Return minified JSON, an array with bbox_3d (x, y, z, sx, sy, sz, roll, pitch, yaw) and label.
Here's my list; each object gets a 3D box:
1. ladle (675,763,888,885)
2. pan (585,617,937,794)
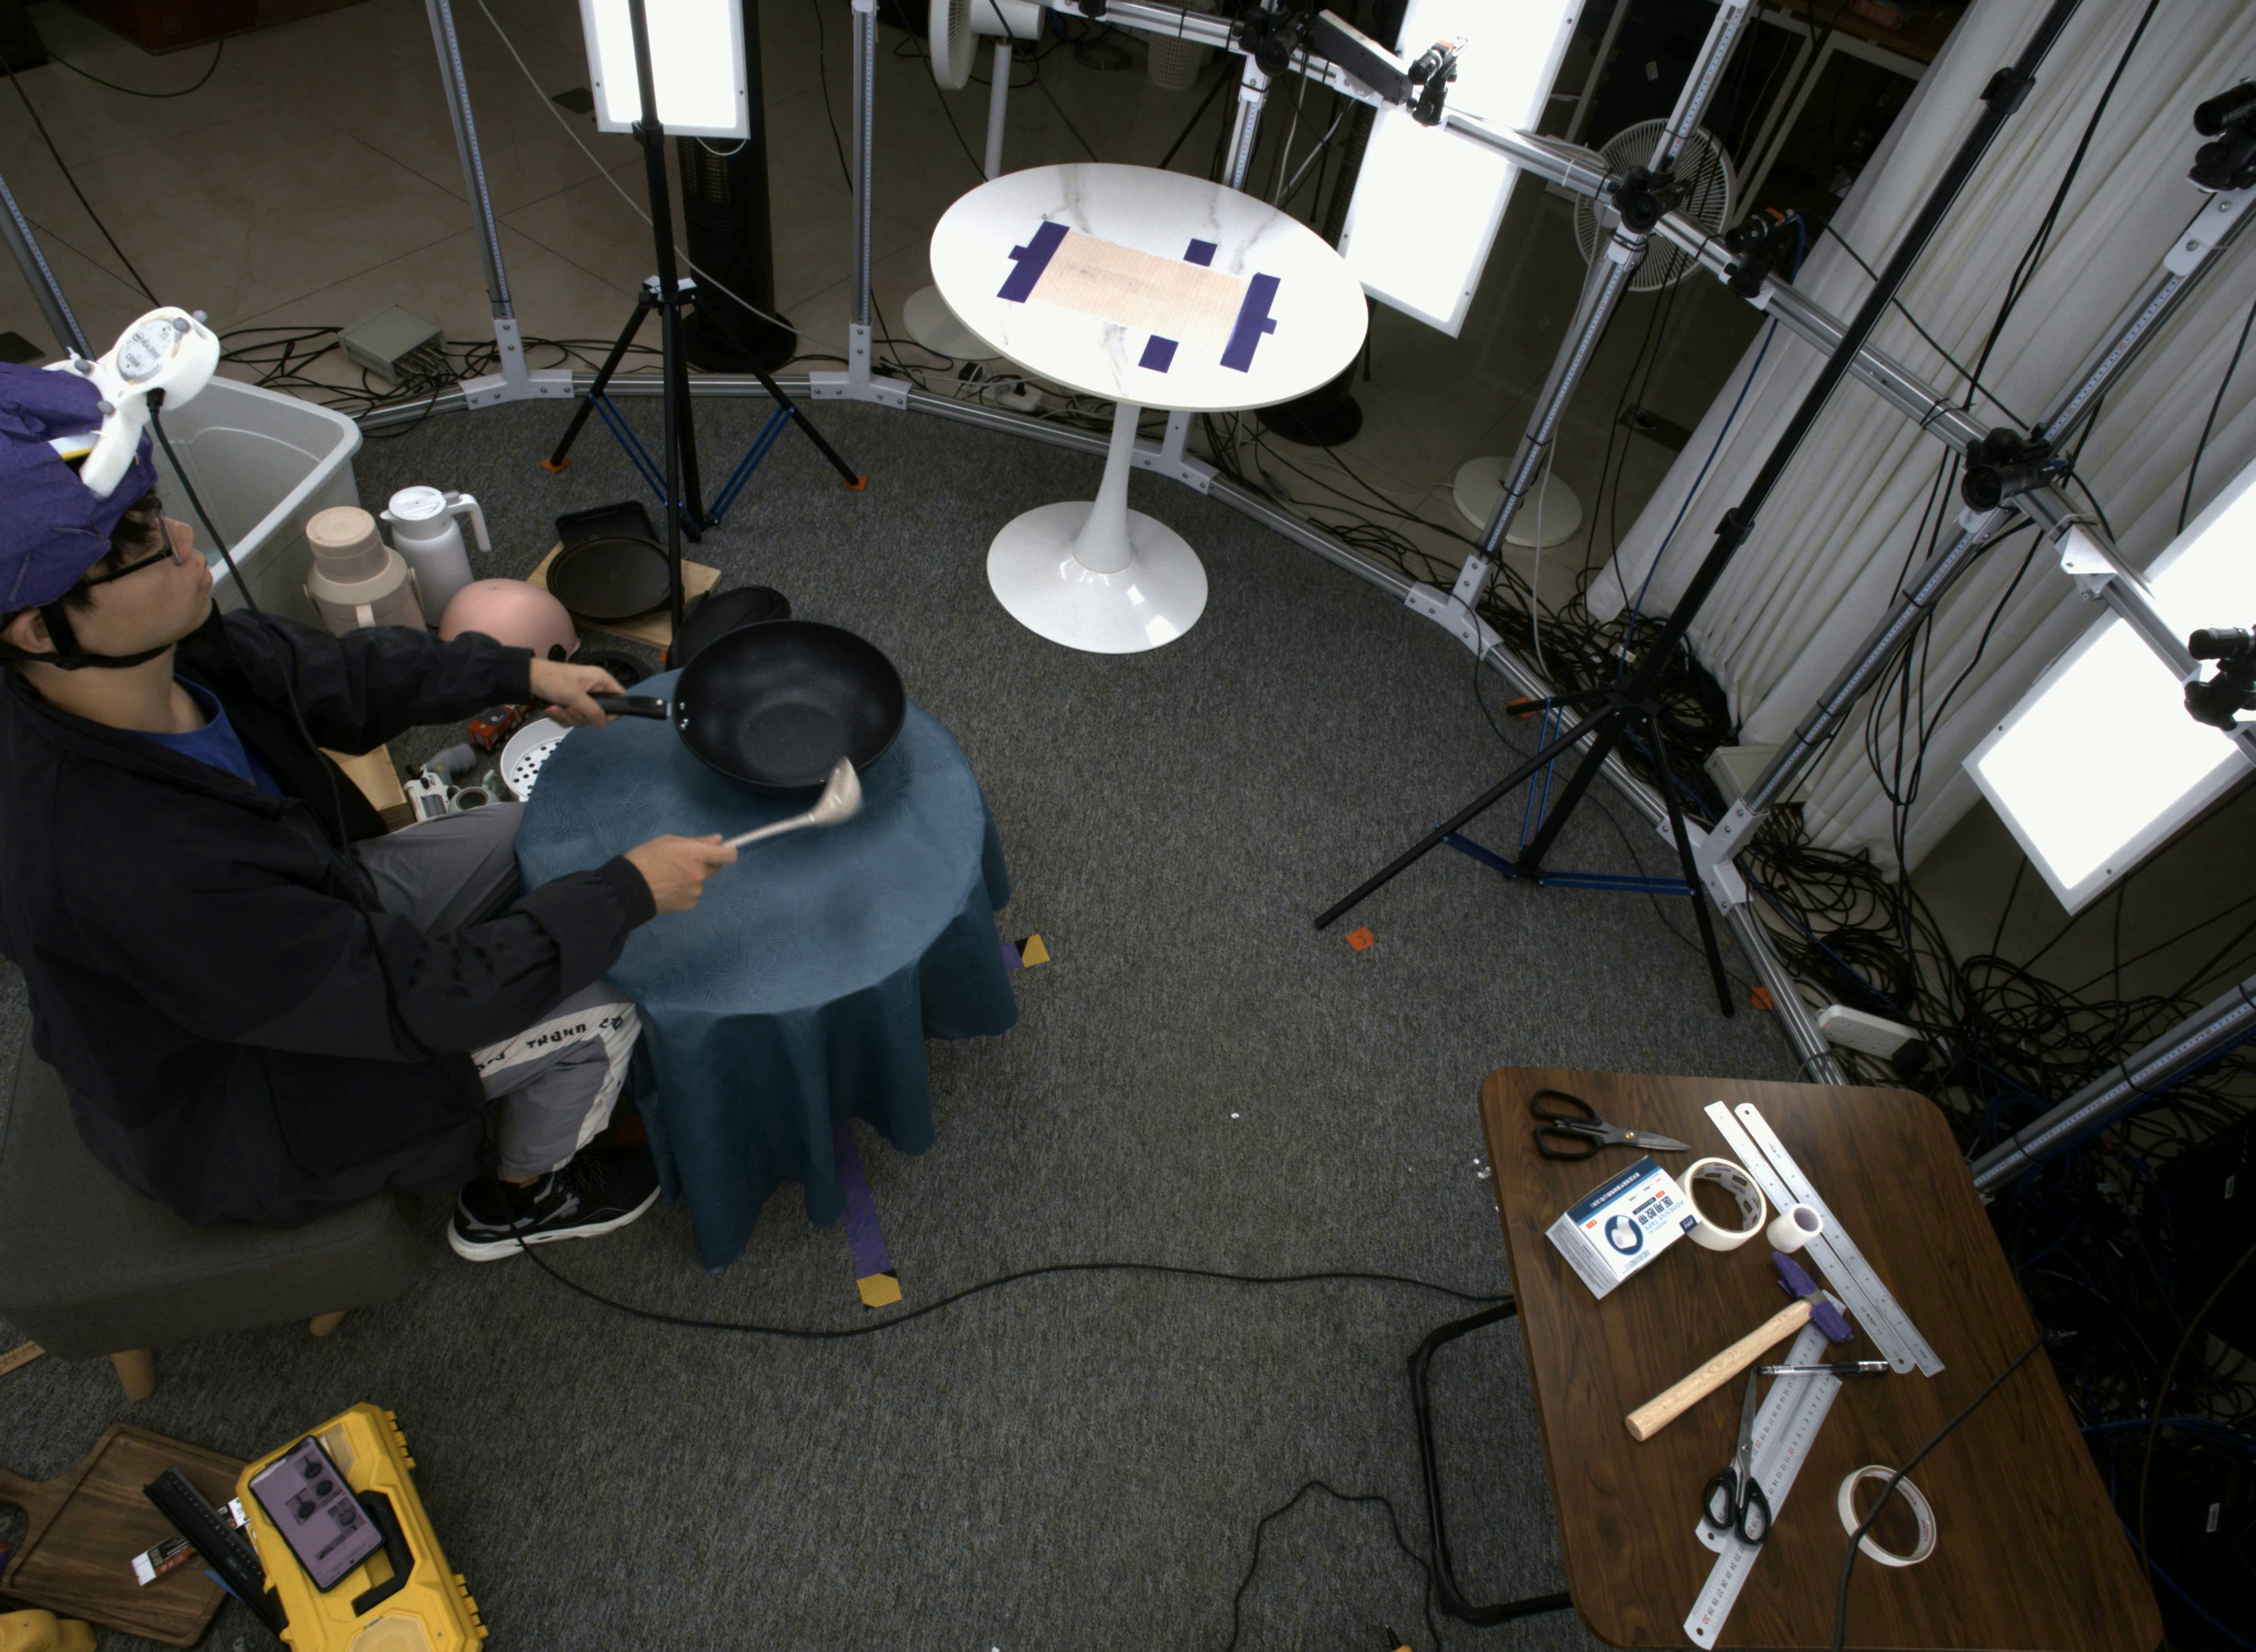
[{"bbox_3d":[-0.422,-0.005,1.563,0.275,0.072,0.086,-18,27,-17],"label":"ladle"},{"bbox_3d":[-0.499,-0.155,1.759,0.478,0.114,0.303,-2,53,-16],"label":"pan"}]
